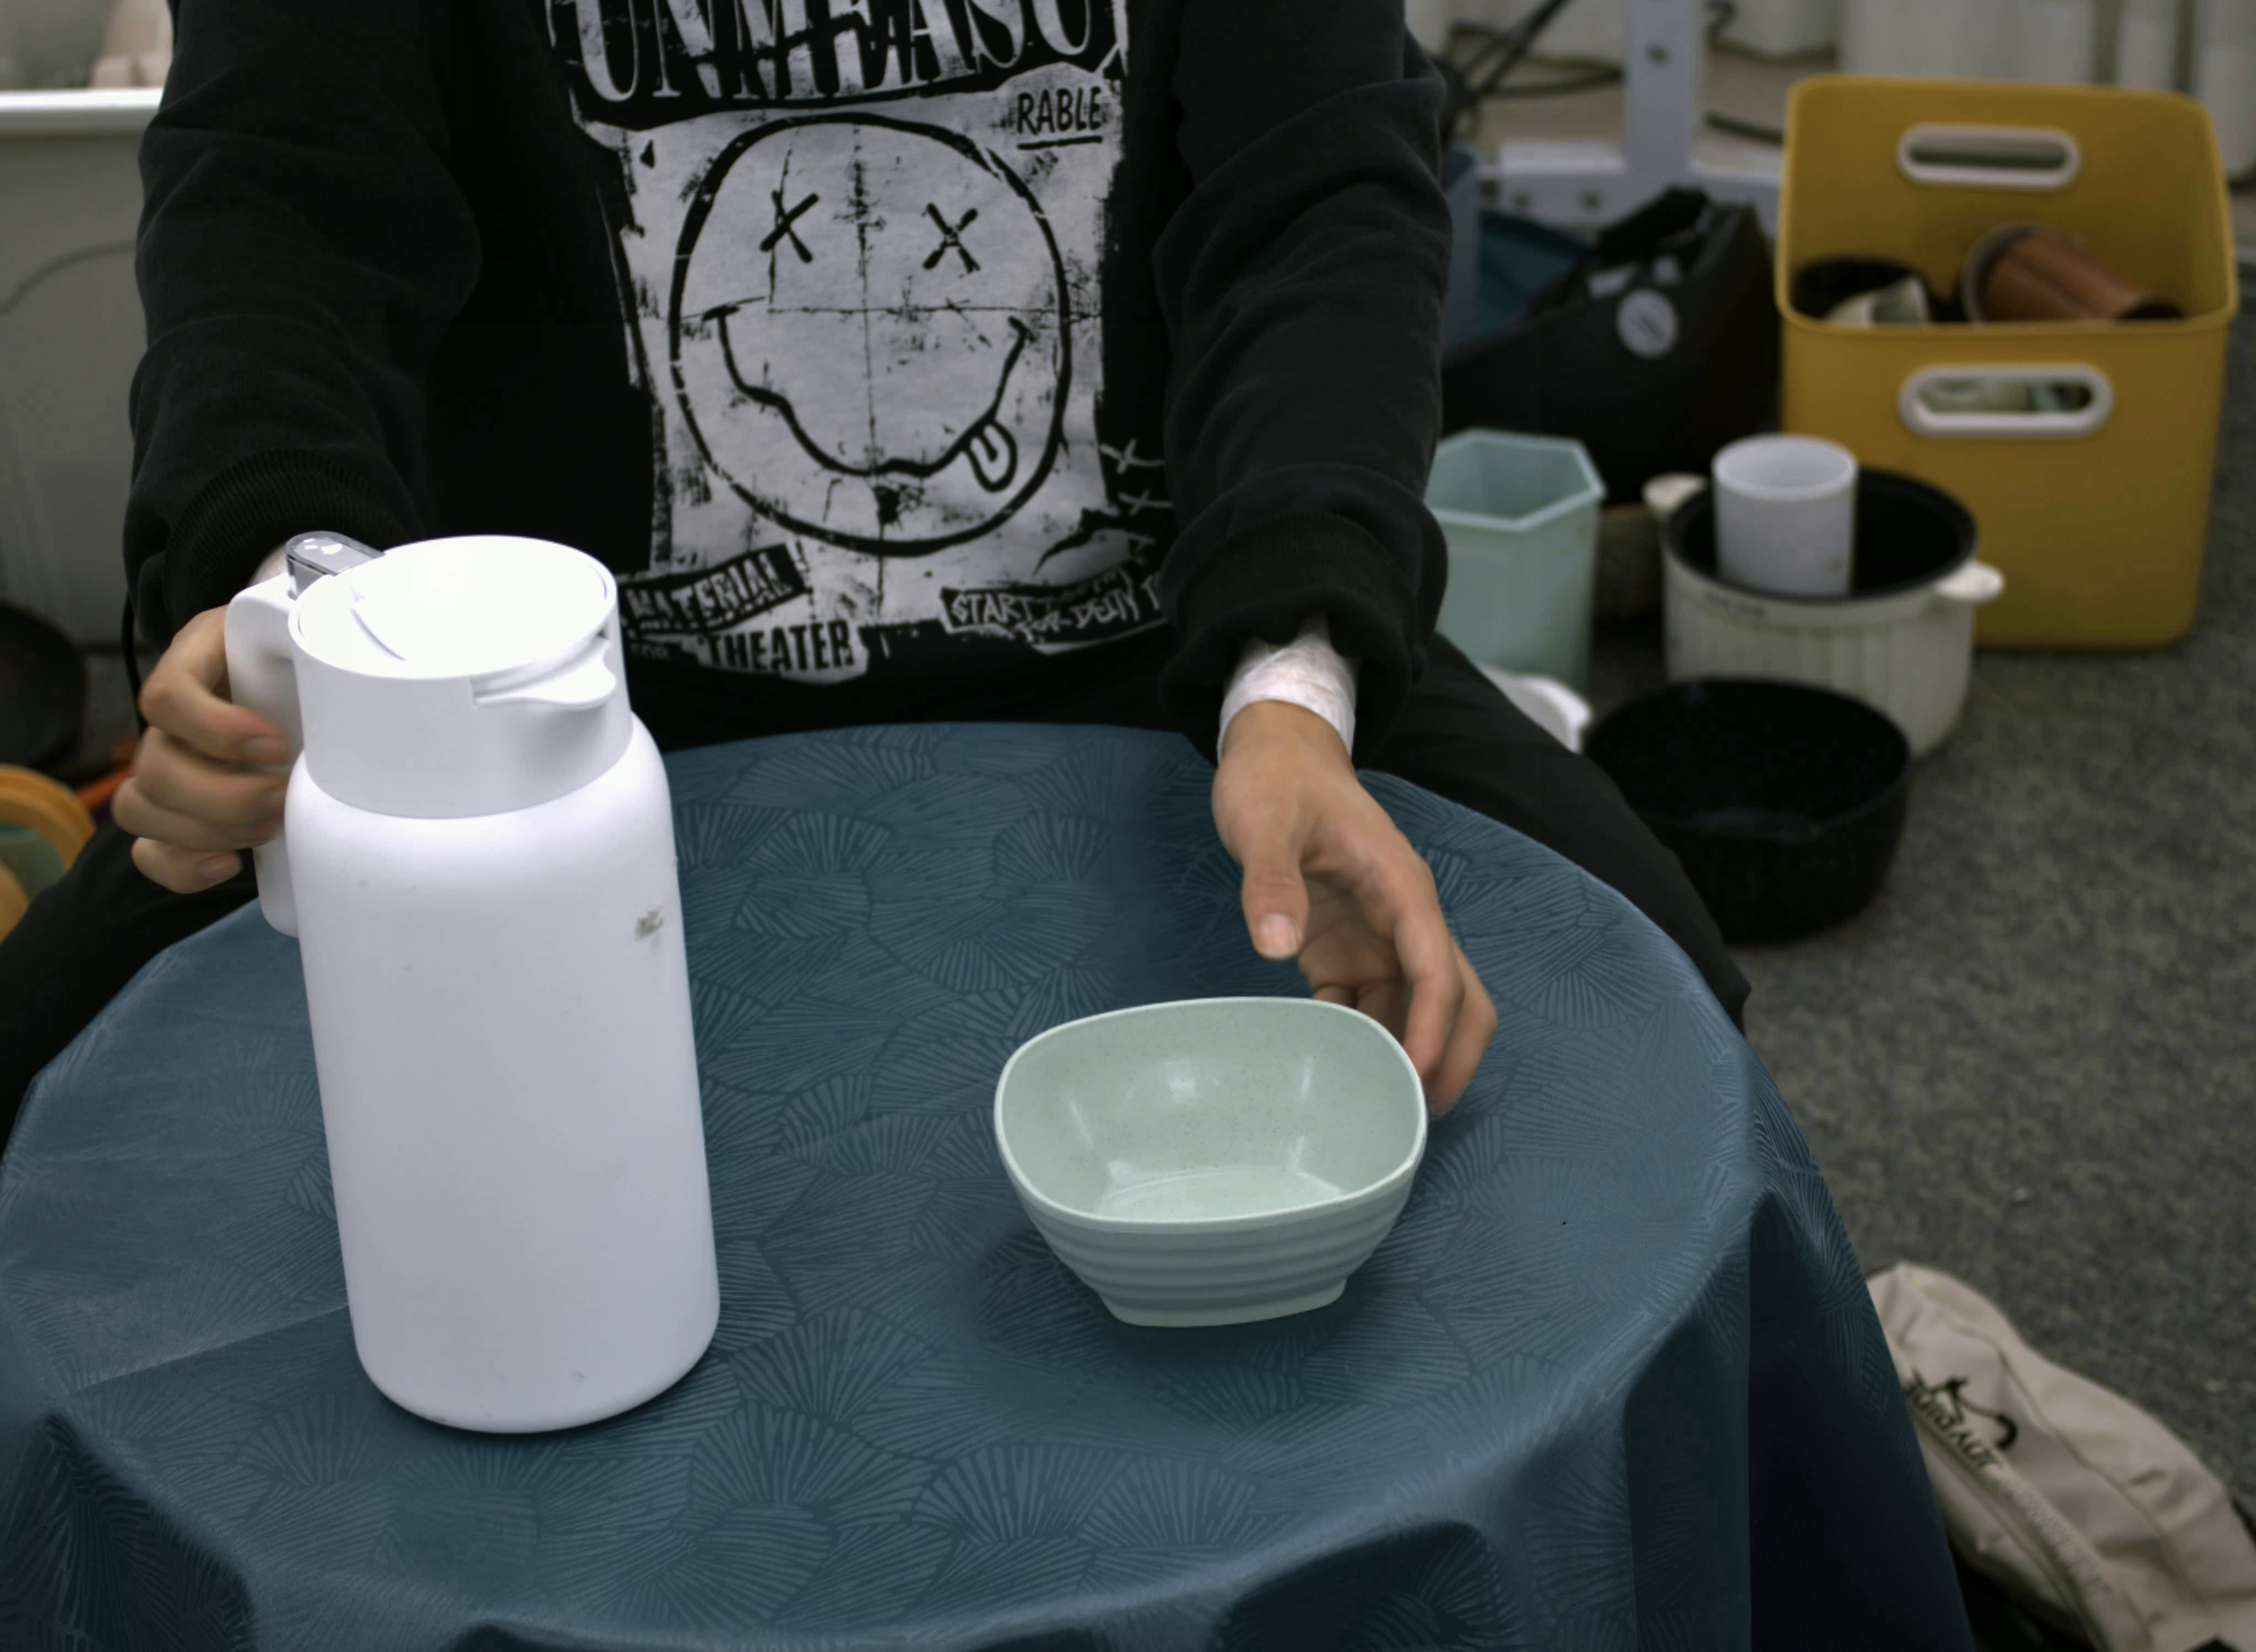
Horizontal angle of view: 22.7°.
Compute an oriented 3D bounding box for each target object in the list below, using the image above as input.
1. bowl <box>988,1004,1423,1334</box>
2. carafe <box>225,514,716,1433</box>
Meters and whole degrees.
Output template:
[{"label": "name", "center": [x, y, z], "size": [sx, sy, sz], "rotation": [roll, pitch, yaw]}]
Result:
[{"label": "bowl", "center": [0.026, 0.116, 1.810], "size": [0.151, 0.058, 0.154], "rotation": [-2, 27, 1]}, {"label": "carafe", "center": [-0.208, 0.043, 1.744], "size": [0.172, 0.266, 0.125], "rotation": [21, 37, 39]}]
